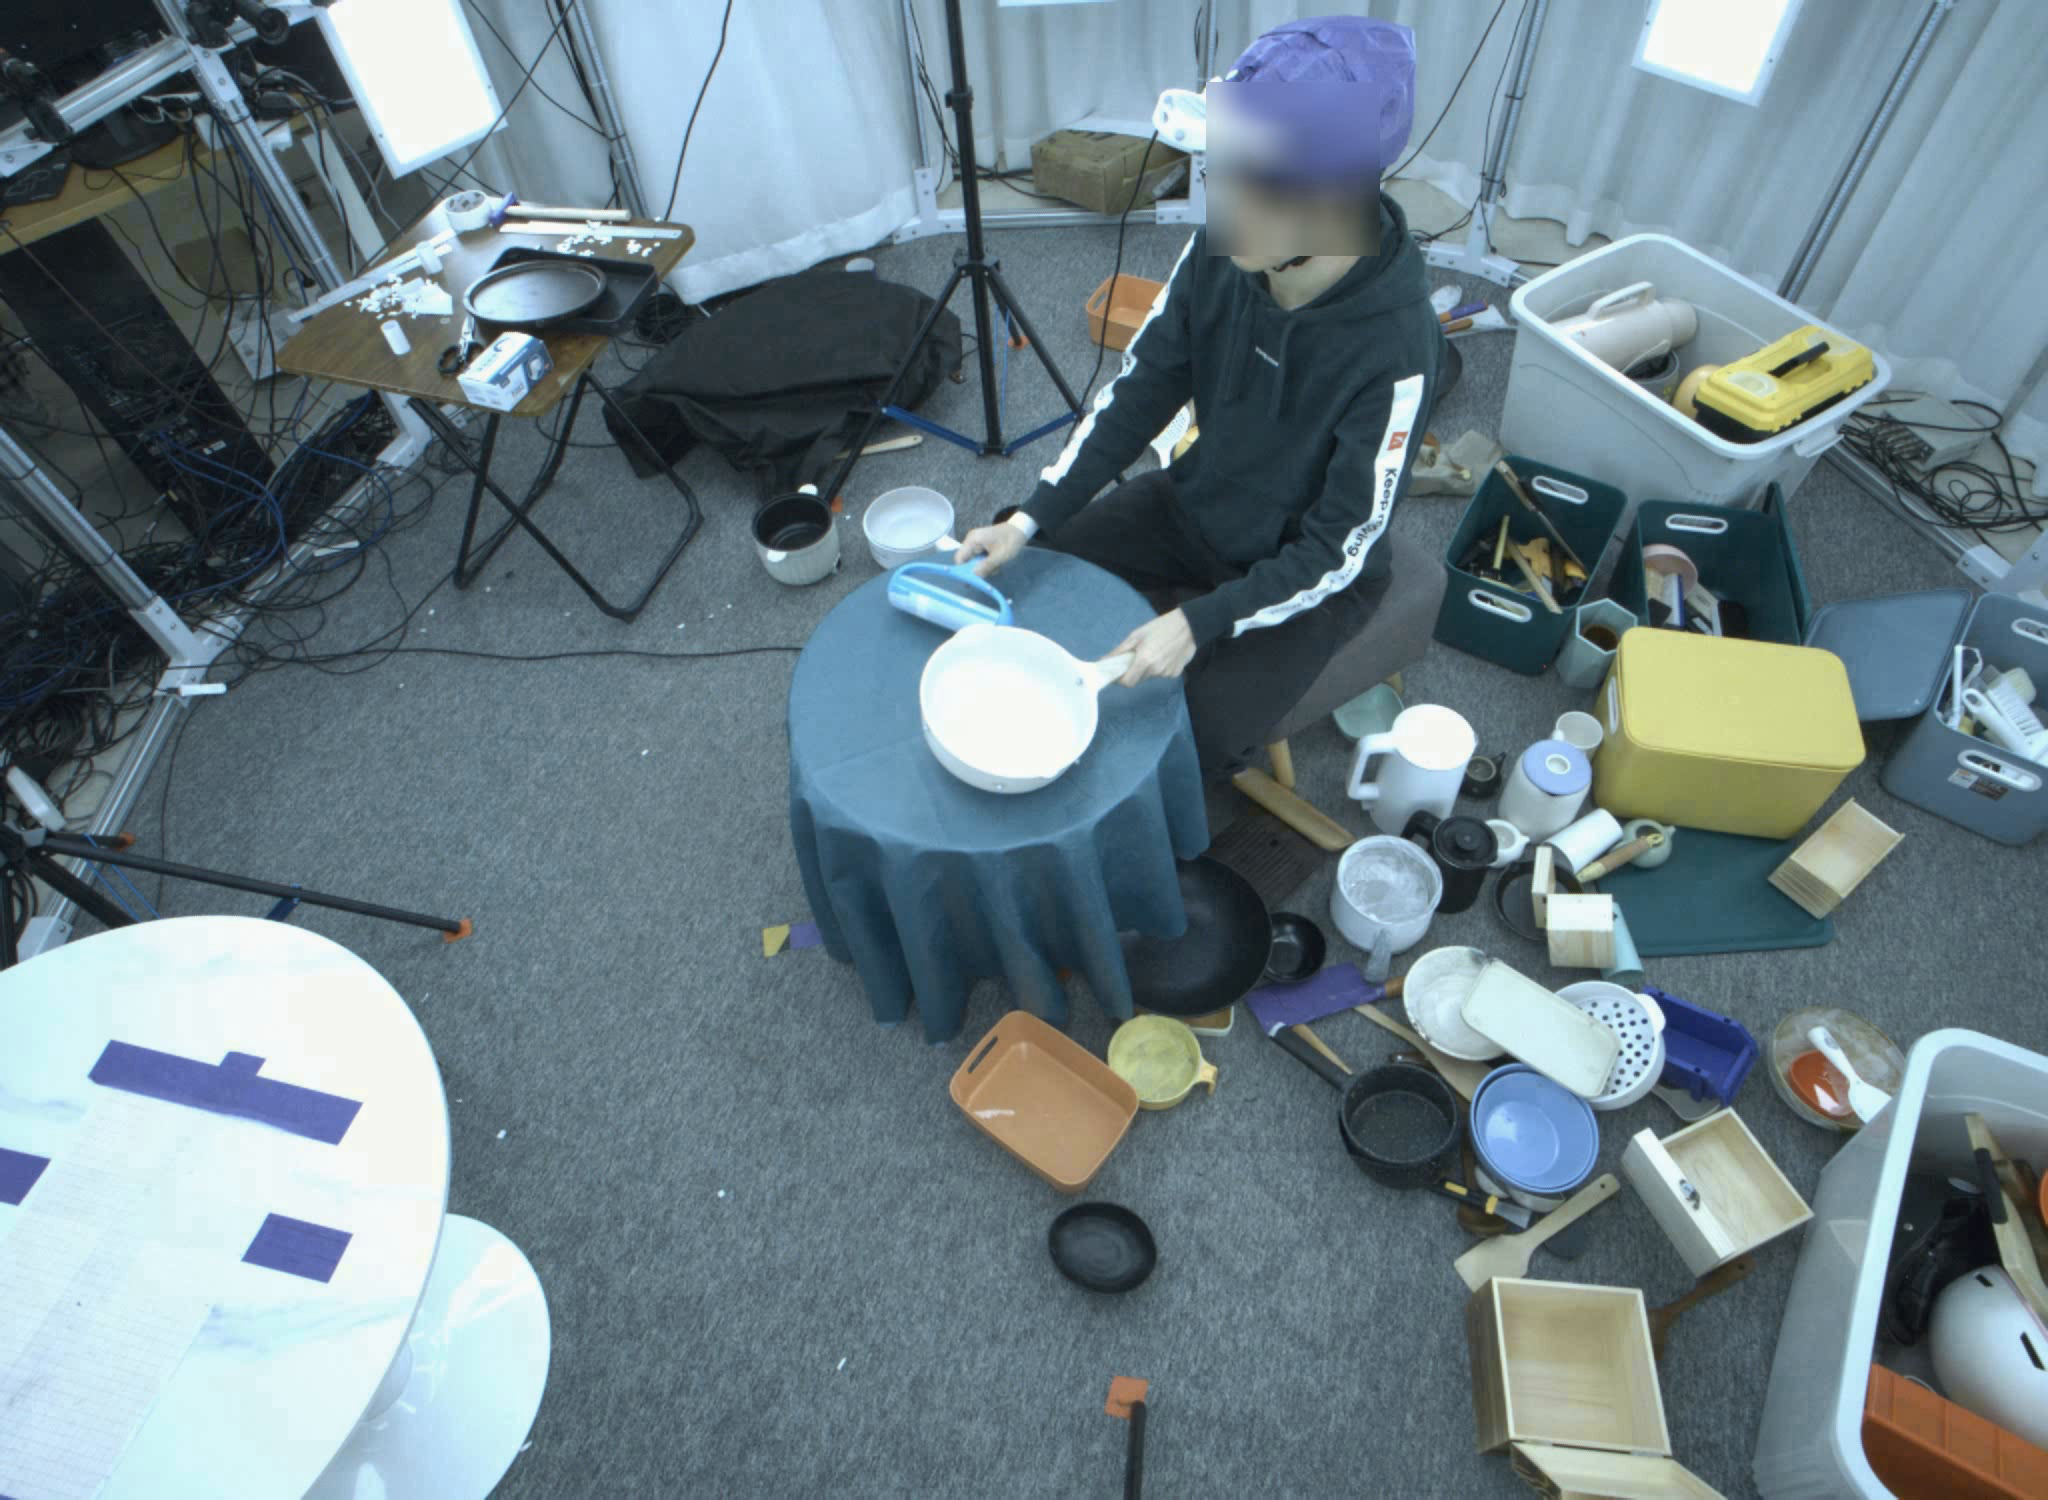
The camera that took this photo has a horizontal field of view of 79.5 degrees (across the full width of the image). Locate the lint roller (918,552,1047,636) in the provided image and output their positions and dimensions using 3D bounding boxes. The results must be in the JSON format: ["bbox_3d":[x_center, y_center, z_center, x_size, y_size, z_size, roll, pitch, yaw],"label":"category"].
[{"bbox_3d":[-0.037,-0.258,1.900,0.225,0.069,0.180,22,64,23],"label":"lint roller"}]

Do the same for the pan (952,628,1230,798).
[{"bbox_3d":[0.099,-0.072,1.755,0.441,0.102,0.260,-17,65,-25],"label":"pan"}]
